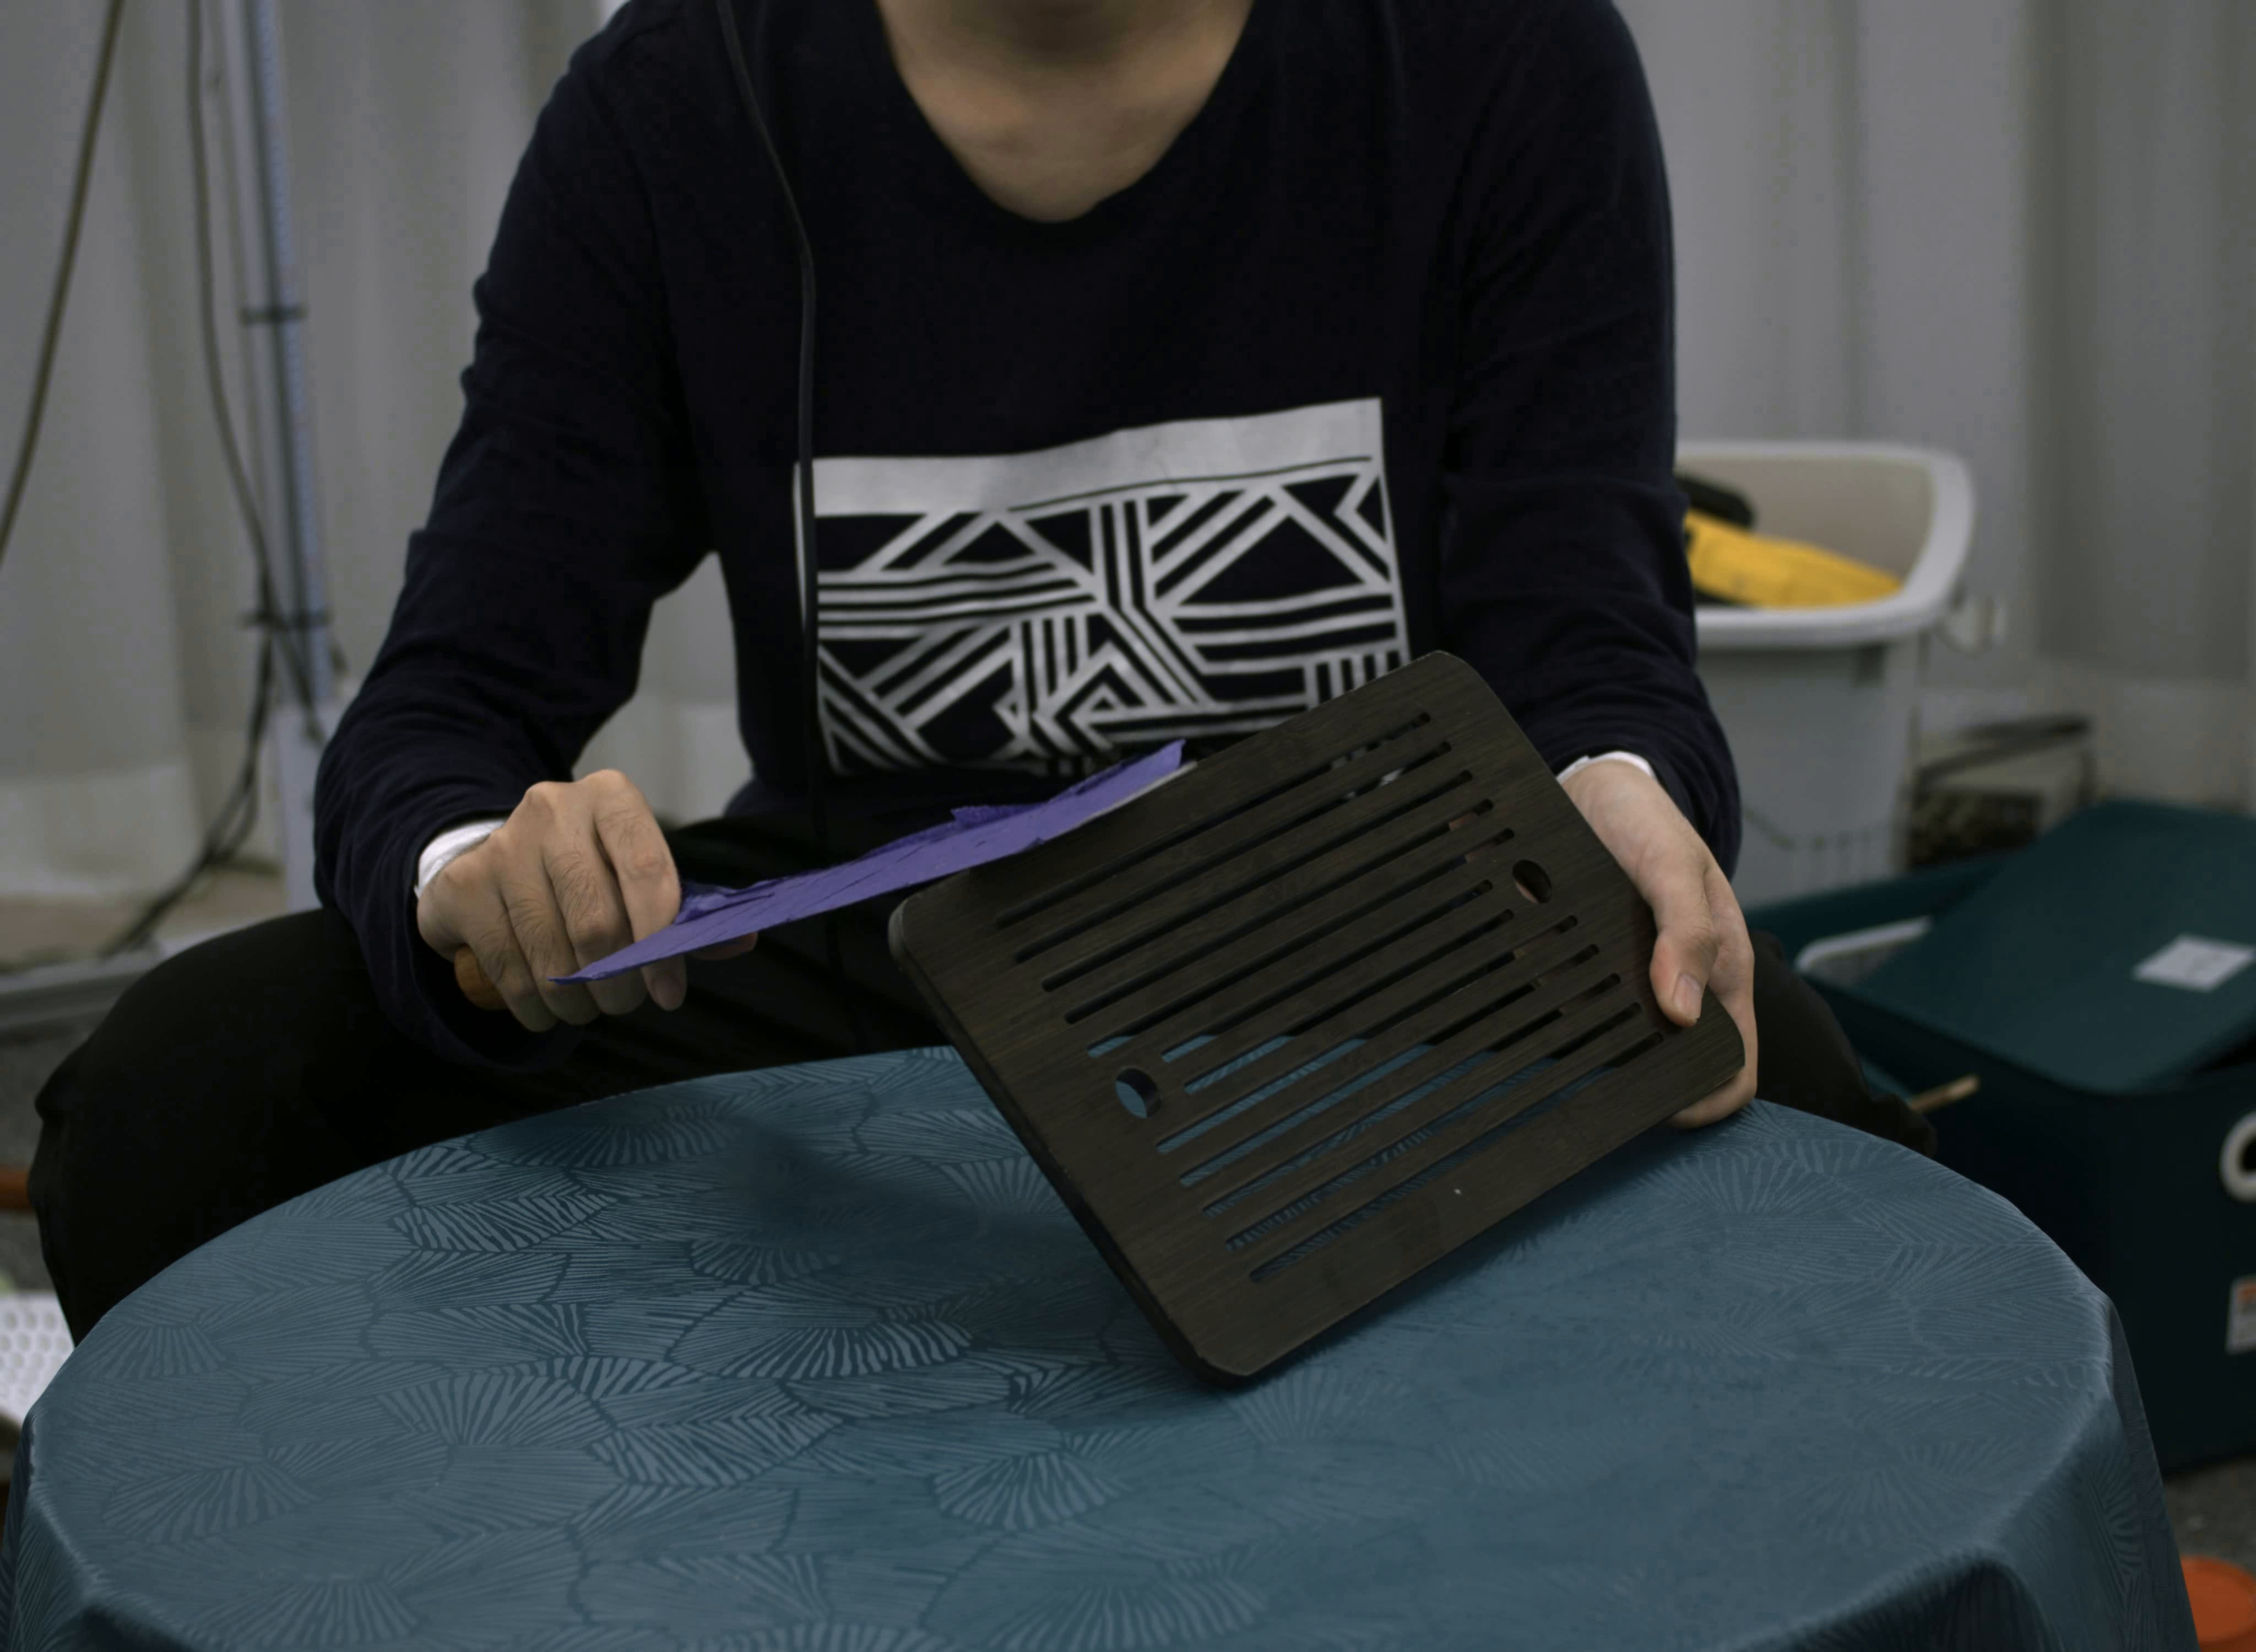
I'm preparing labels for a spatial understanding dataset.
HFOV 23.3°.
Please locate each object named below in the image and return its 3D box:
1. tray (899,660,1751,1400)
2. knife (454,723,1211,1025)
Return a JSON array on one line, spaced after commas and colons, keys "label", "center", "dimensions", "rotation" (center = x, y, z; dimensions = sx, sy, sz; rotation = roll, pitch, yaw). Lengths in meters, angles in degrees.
[{"label": "tray", "center": [0.065, 0.056, 1.666], "dimensions": [0.306, 0.171, 0.018], "rotation": [-24, -15, -50]}, {"label": "knife", "center": [-0.117, 0.022, 1.710], "dimensions": [0.314, 0.032, 0.104], "rotation": [-20, 5, 39]}]
